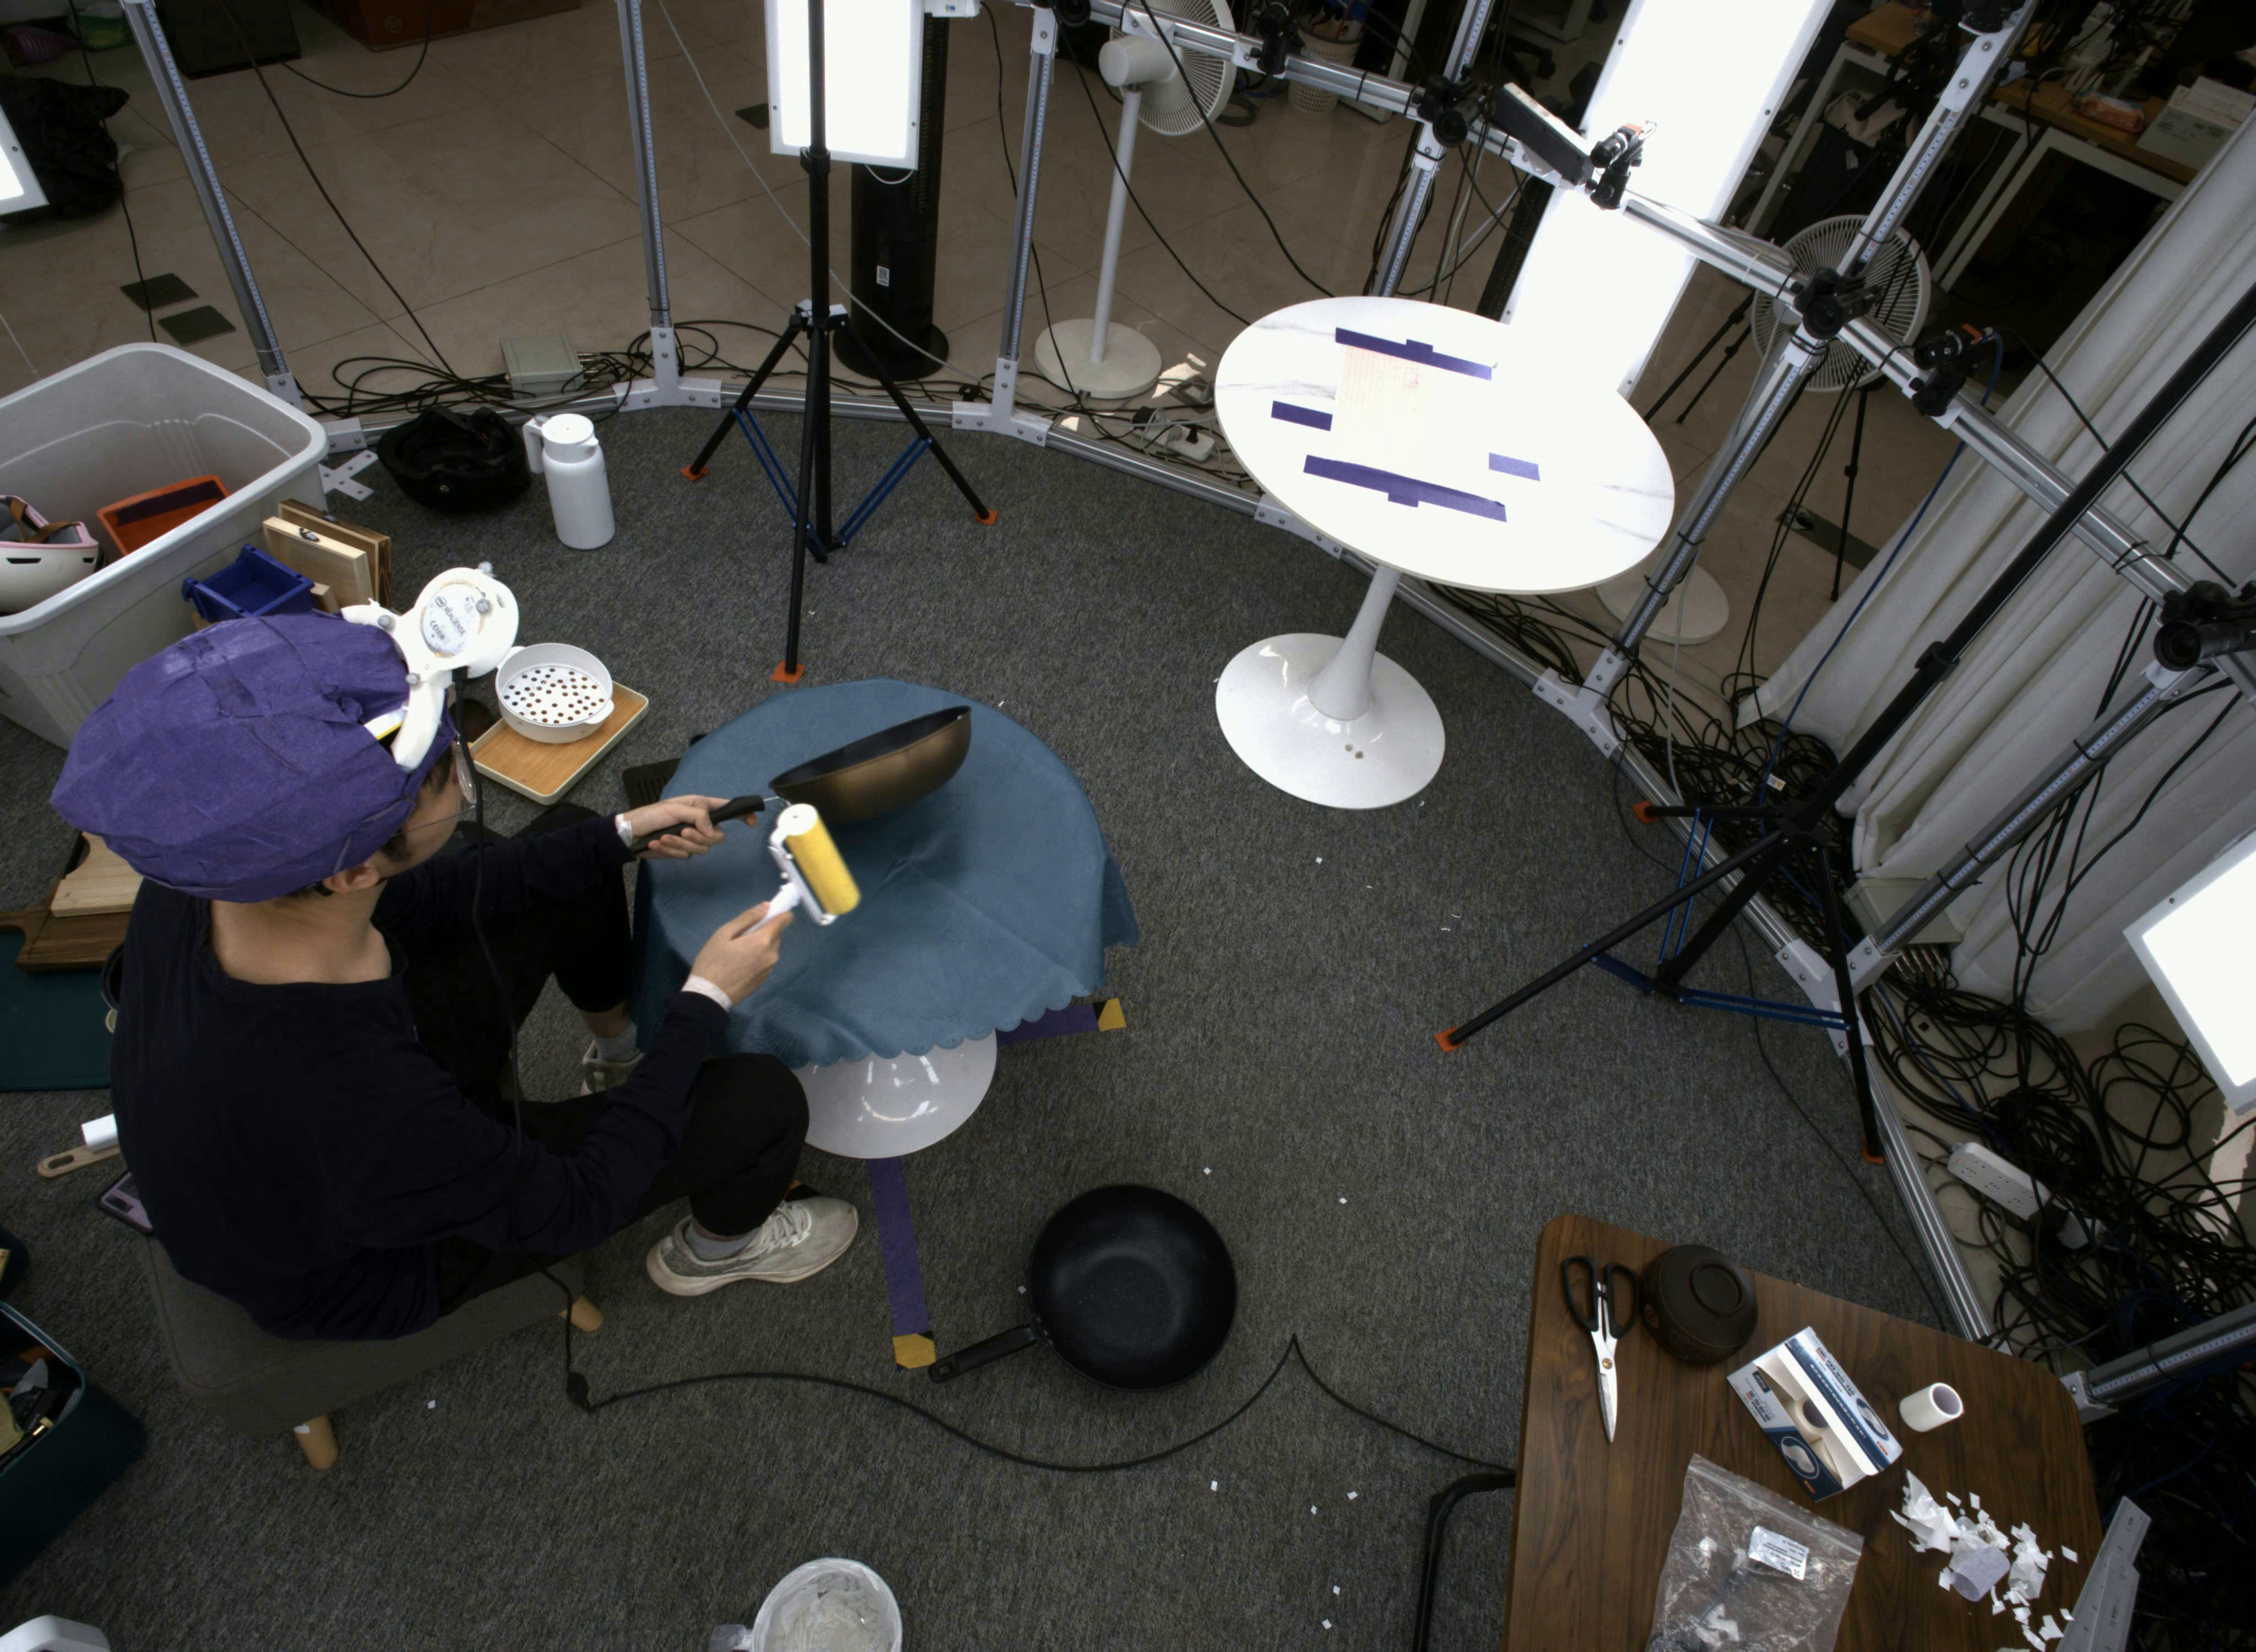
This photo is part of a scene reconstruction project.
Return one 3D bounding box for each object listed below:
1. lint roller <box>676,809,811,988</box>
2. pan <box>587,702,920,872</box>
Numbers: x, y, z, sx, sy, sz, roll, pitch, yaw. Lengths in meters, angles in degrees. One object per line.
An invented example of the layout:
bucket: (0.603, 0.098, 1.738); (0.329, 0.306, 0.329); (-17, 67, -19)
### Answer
lint roller: (-0.451, 0.104, 1.487); (0.050, 0.180, 0.191); (11, 57, 20)
pan: (-0.455, -0.025, 1.632); (0.464, 0.280, 0.089); (-29, 105, -24)
